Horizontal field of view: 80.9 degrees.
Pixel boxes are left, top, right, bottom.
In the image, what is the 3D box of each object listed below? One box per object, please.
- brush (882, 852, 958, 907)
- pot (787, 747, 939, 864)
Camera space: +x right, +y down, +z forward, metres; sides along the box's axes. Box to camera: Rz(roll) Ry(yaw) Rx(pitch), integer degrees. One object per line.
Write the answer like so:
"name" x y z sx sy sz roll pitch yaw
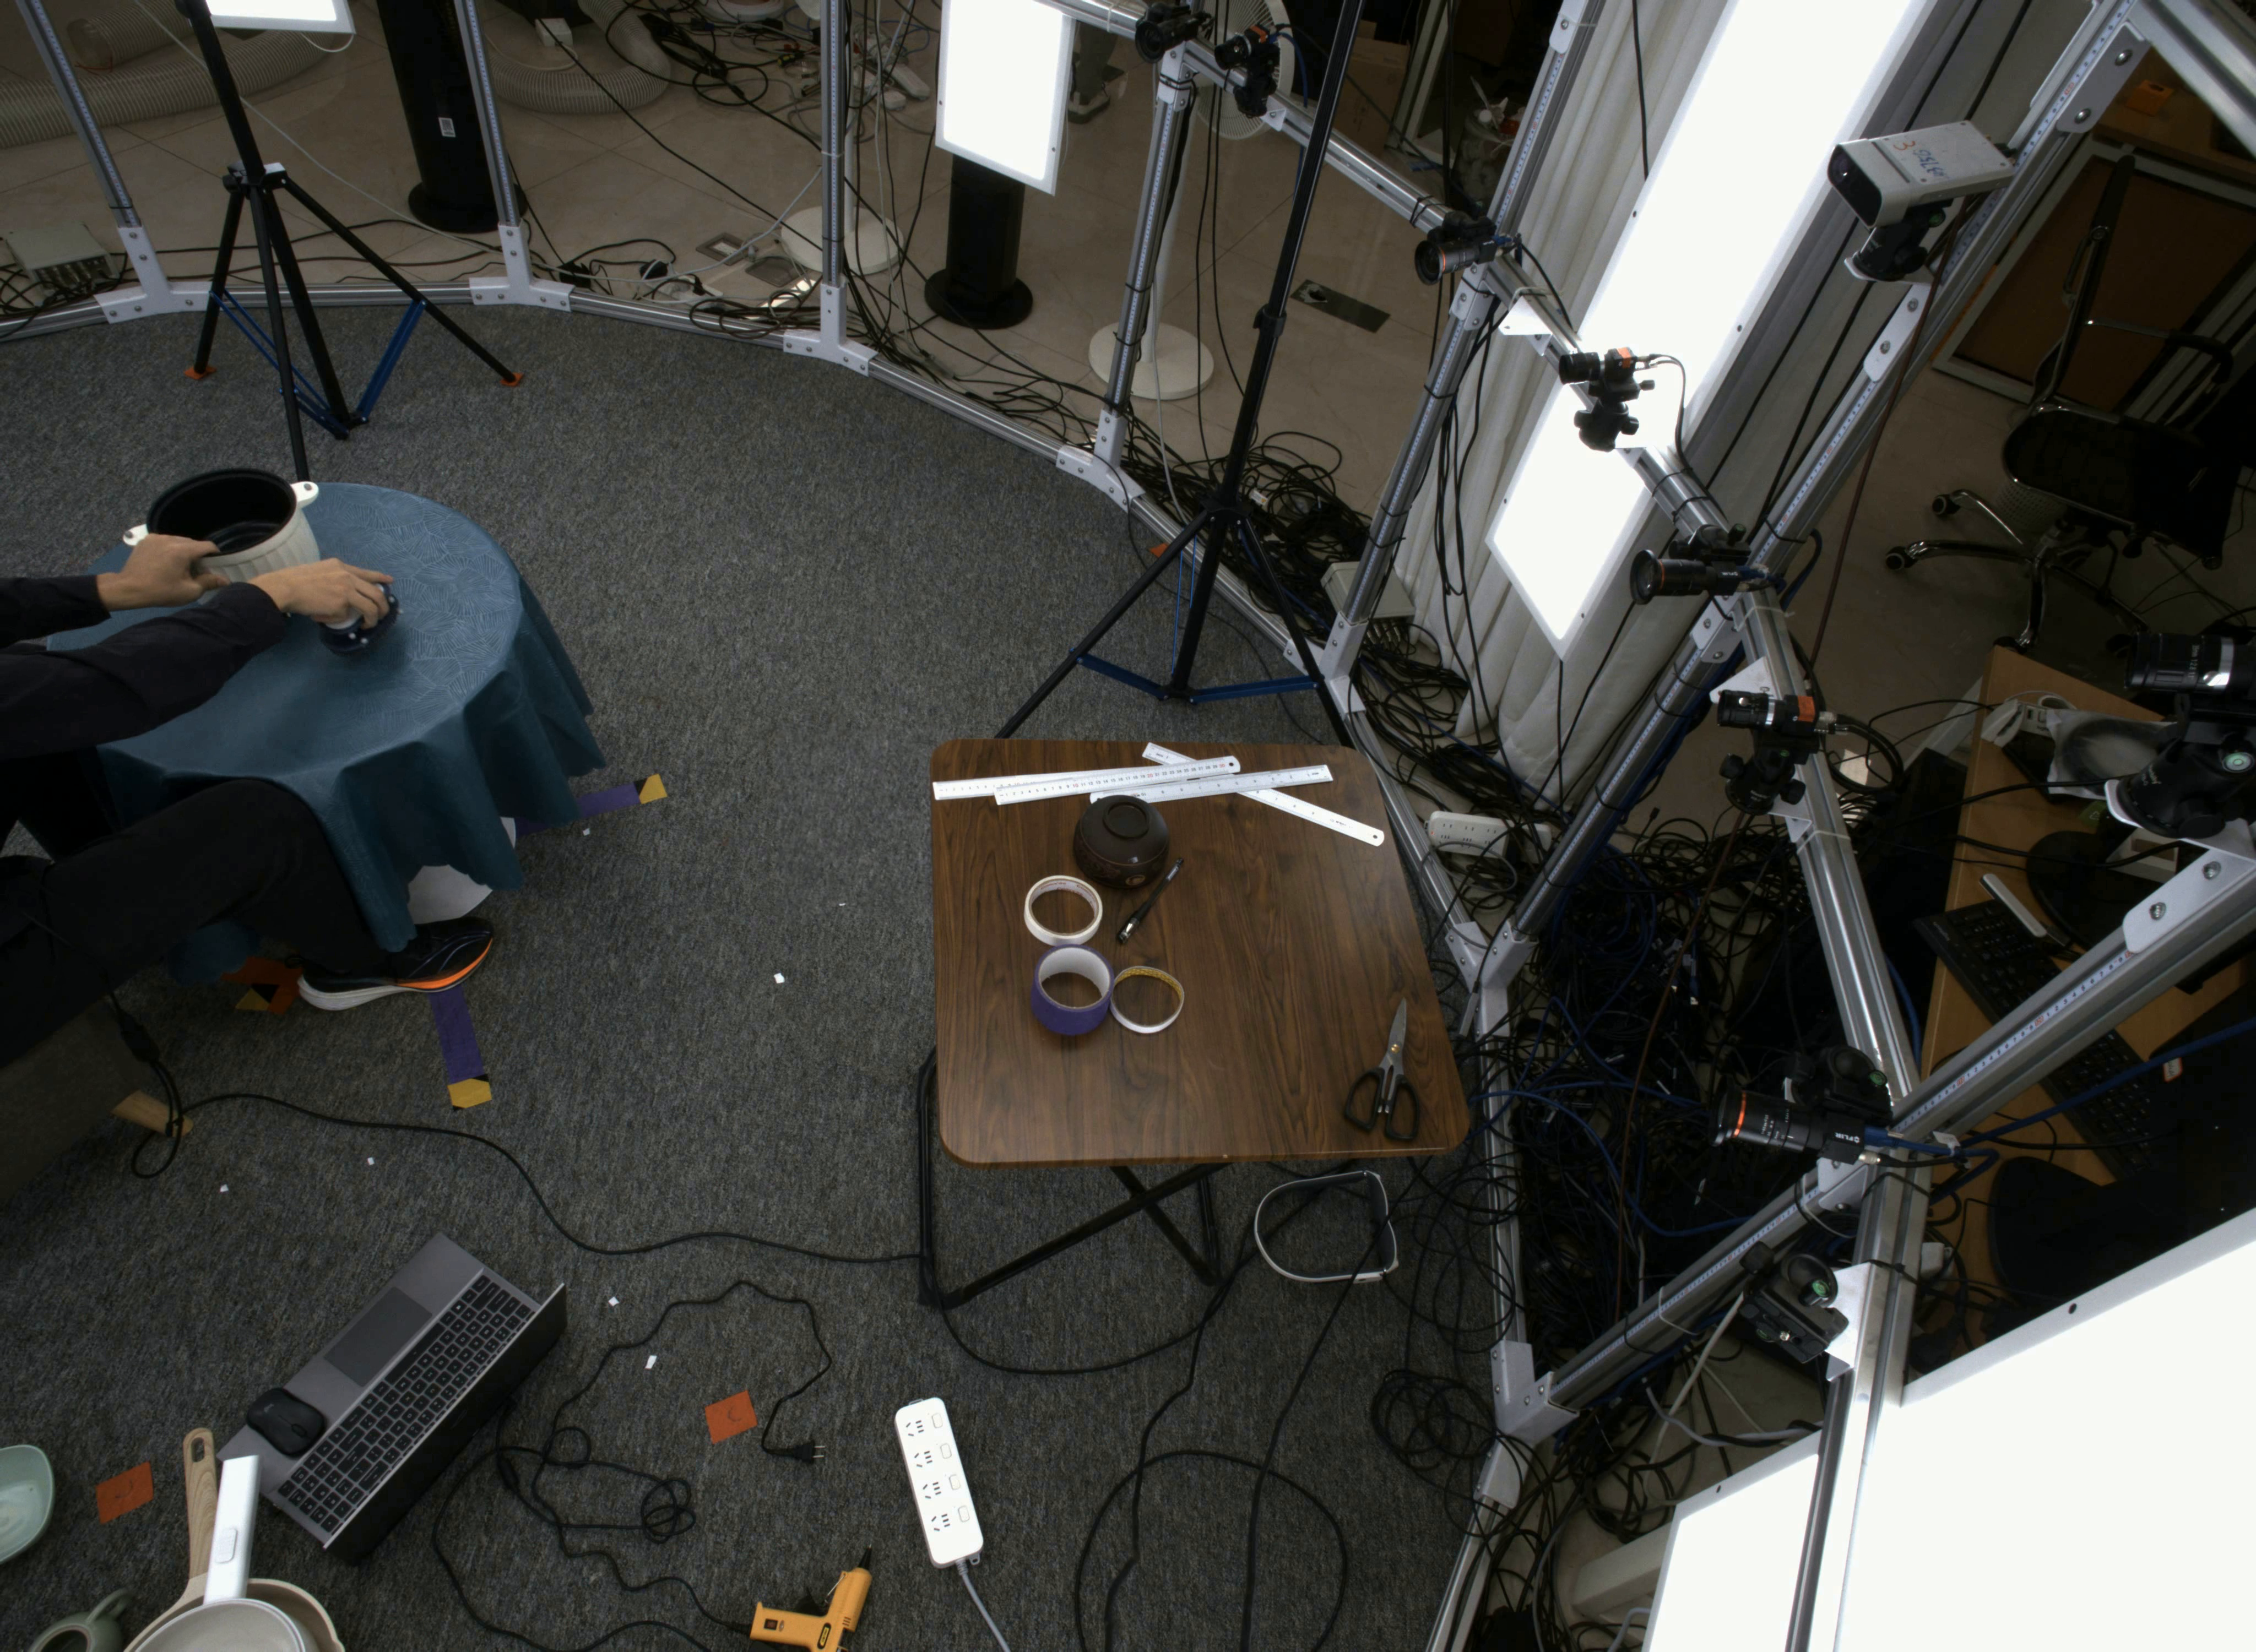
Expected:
"brush" -0.313 0.081 1.961 0.123 0.063 0.065 -10 33 -35
"pot" -0.422 -0.037 2.089 0.239 0.147 0.186 2 25 -5
